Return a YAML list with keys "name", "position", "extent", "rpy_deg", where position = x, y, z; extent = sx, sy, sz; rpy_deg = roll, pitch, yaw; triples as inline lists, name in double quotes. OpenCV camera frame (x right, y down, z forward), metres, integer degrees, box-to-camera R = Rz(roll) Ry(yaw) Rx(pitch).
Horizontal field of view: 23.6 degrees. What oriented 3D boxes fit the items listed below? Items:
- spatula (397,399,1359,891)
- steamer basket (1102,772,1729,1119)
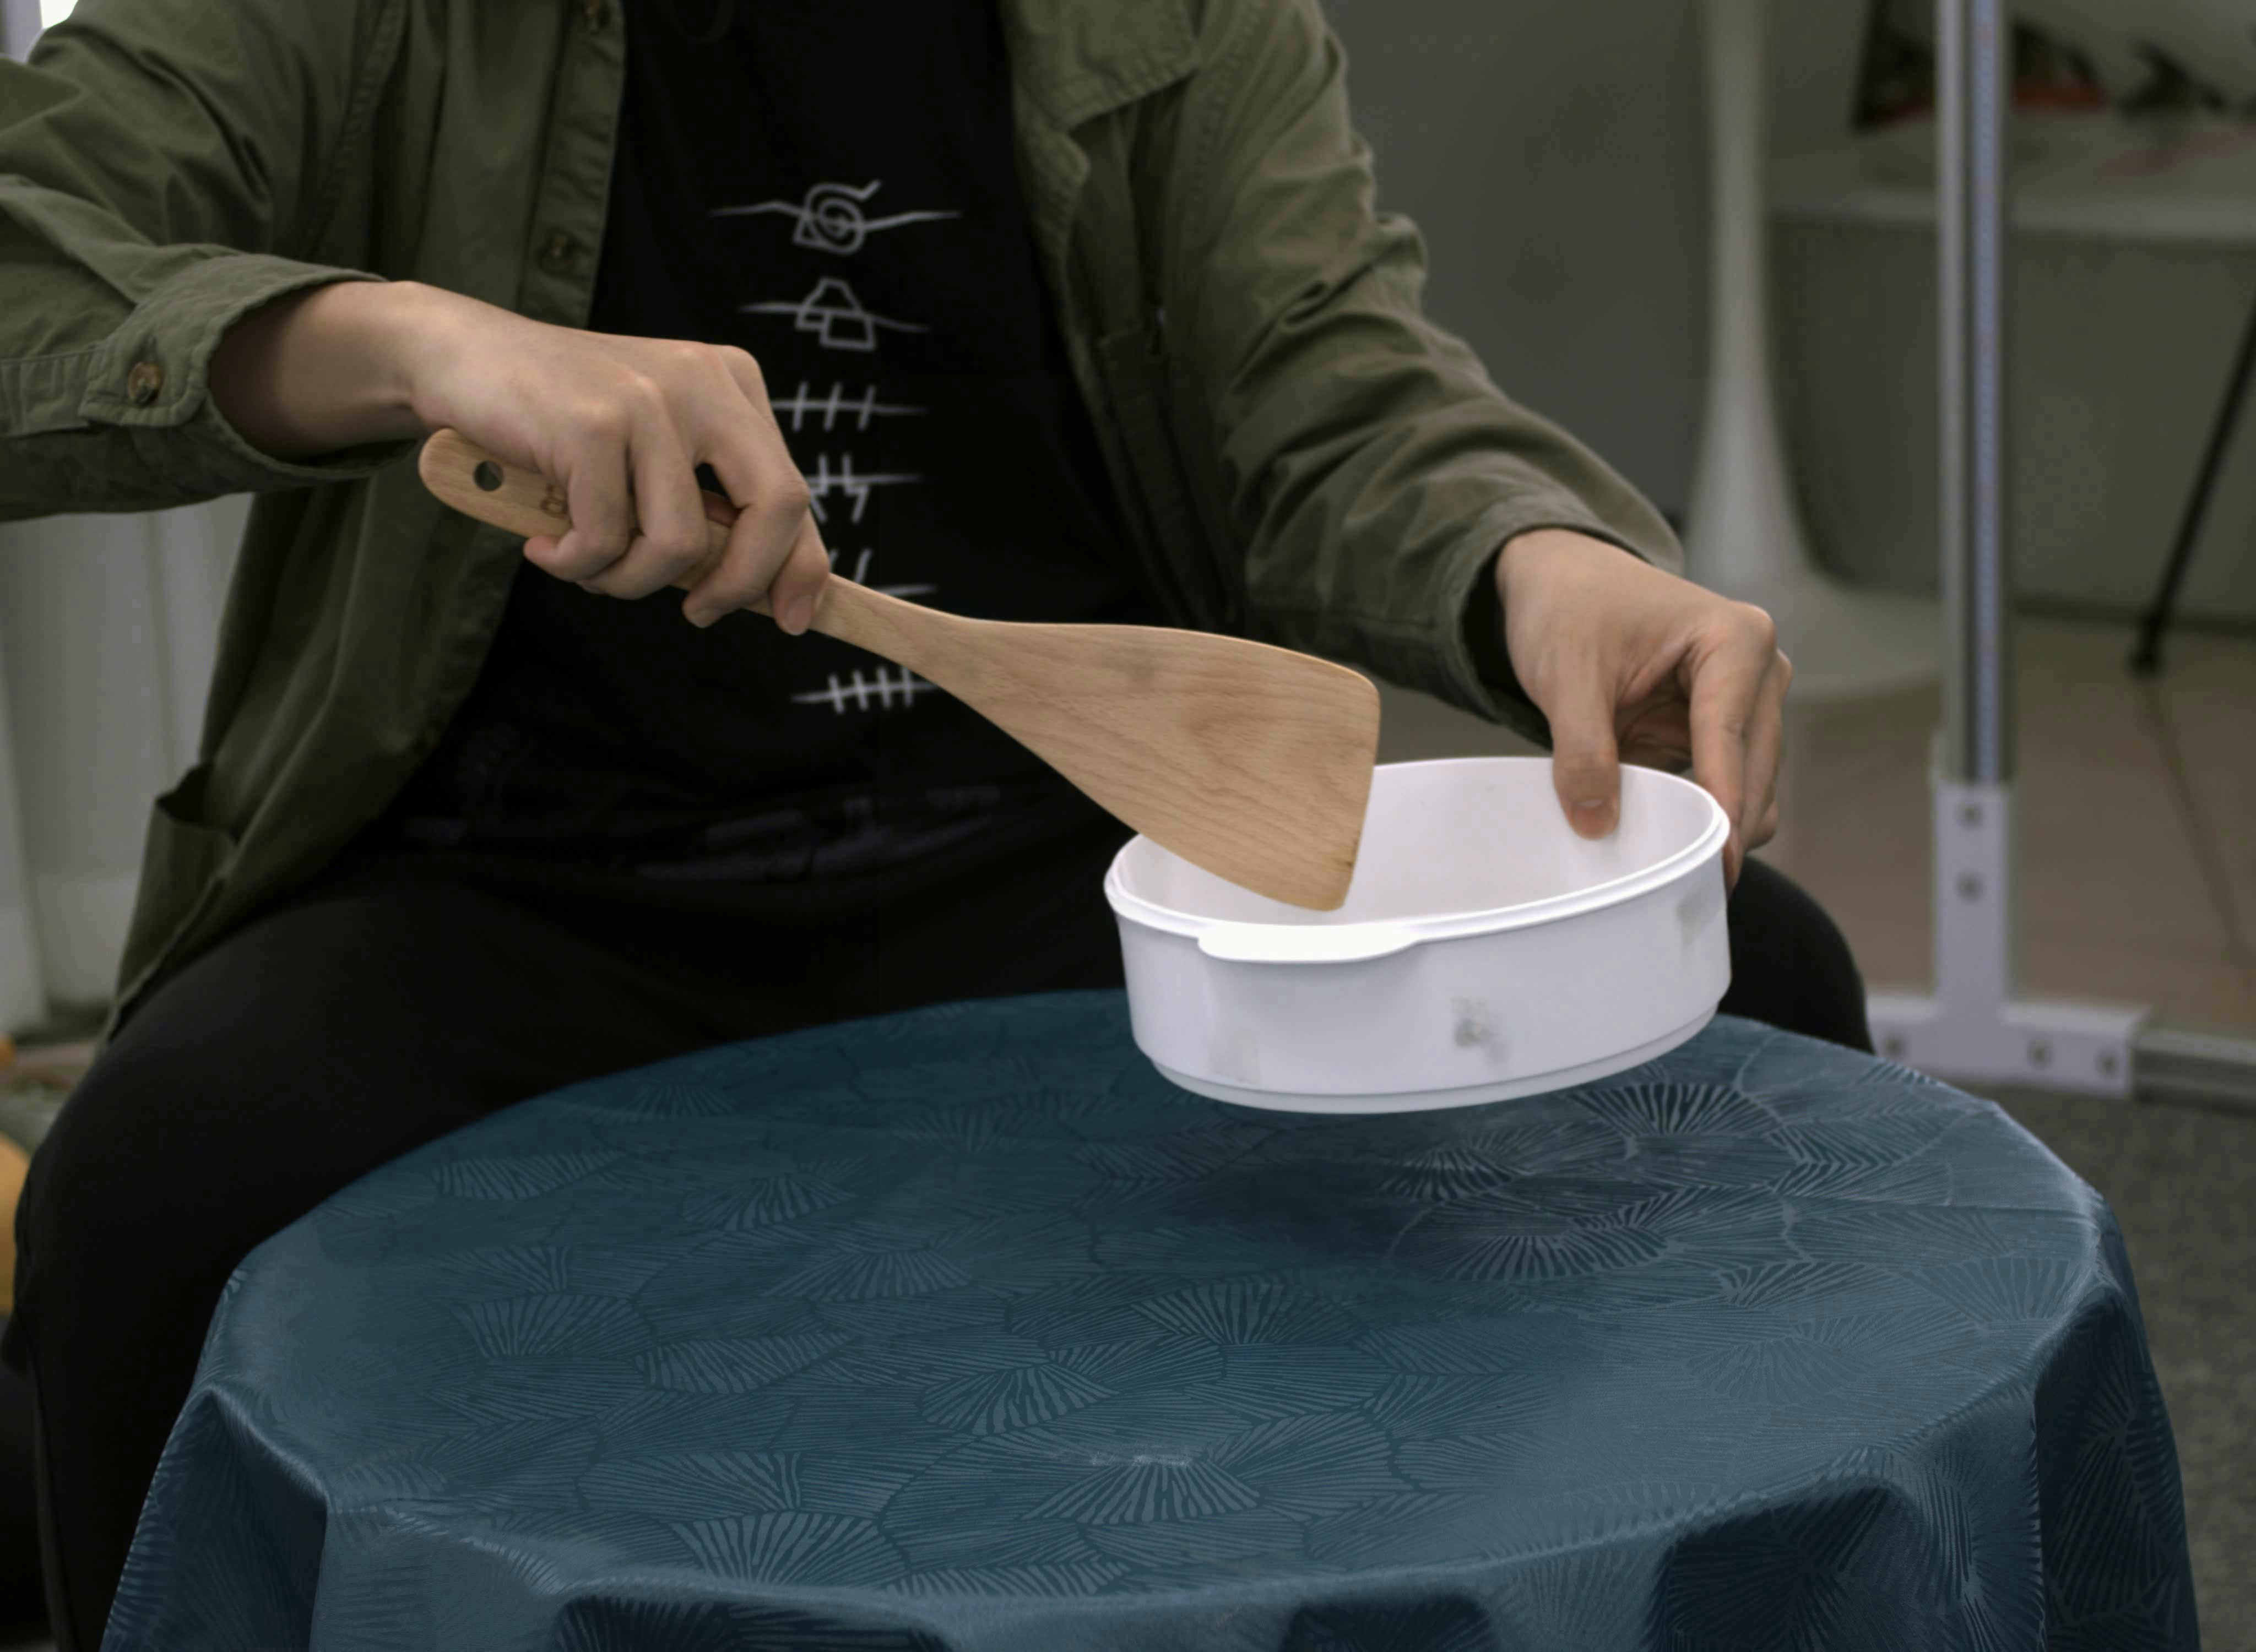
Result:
- name: "spatula"
  position: [-0.078, -0.070, 1.714]
  extent: [0.324, 0.081, 0.016]
  rpy_deg: [21, 11, 0]
- name: "steamer basket"
  position: [0.093, 0.038, 1.712]
  extent: [0.202, 0.070, 0.228]
  rpy_deg: [0, 14, 25]
